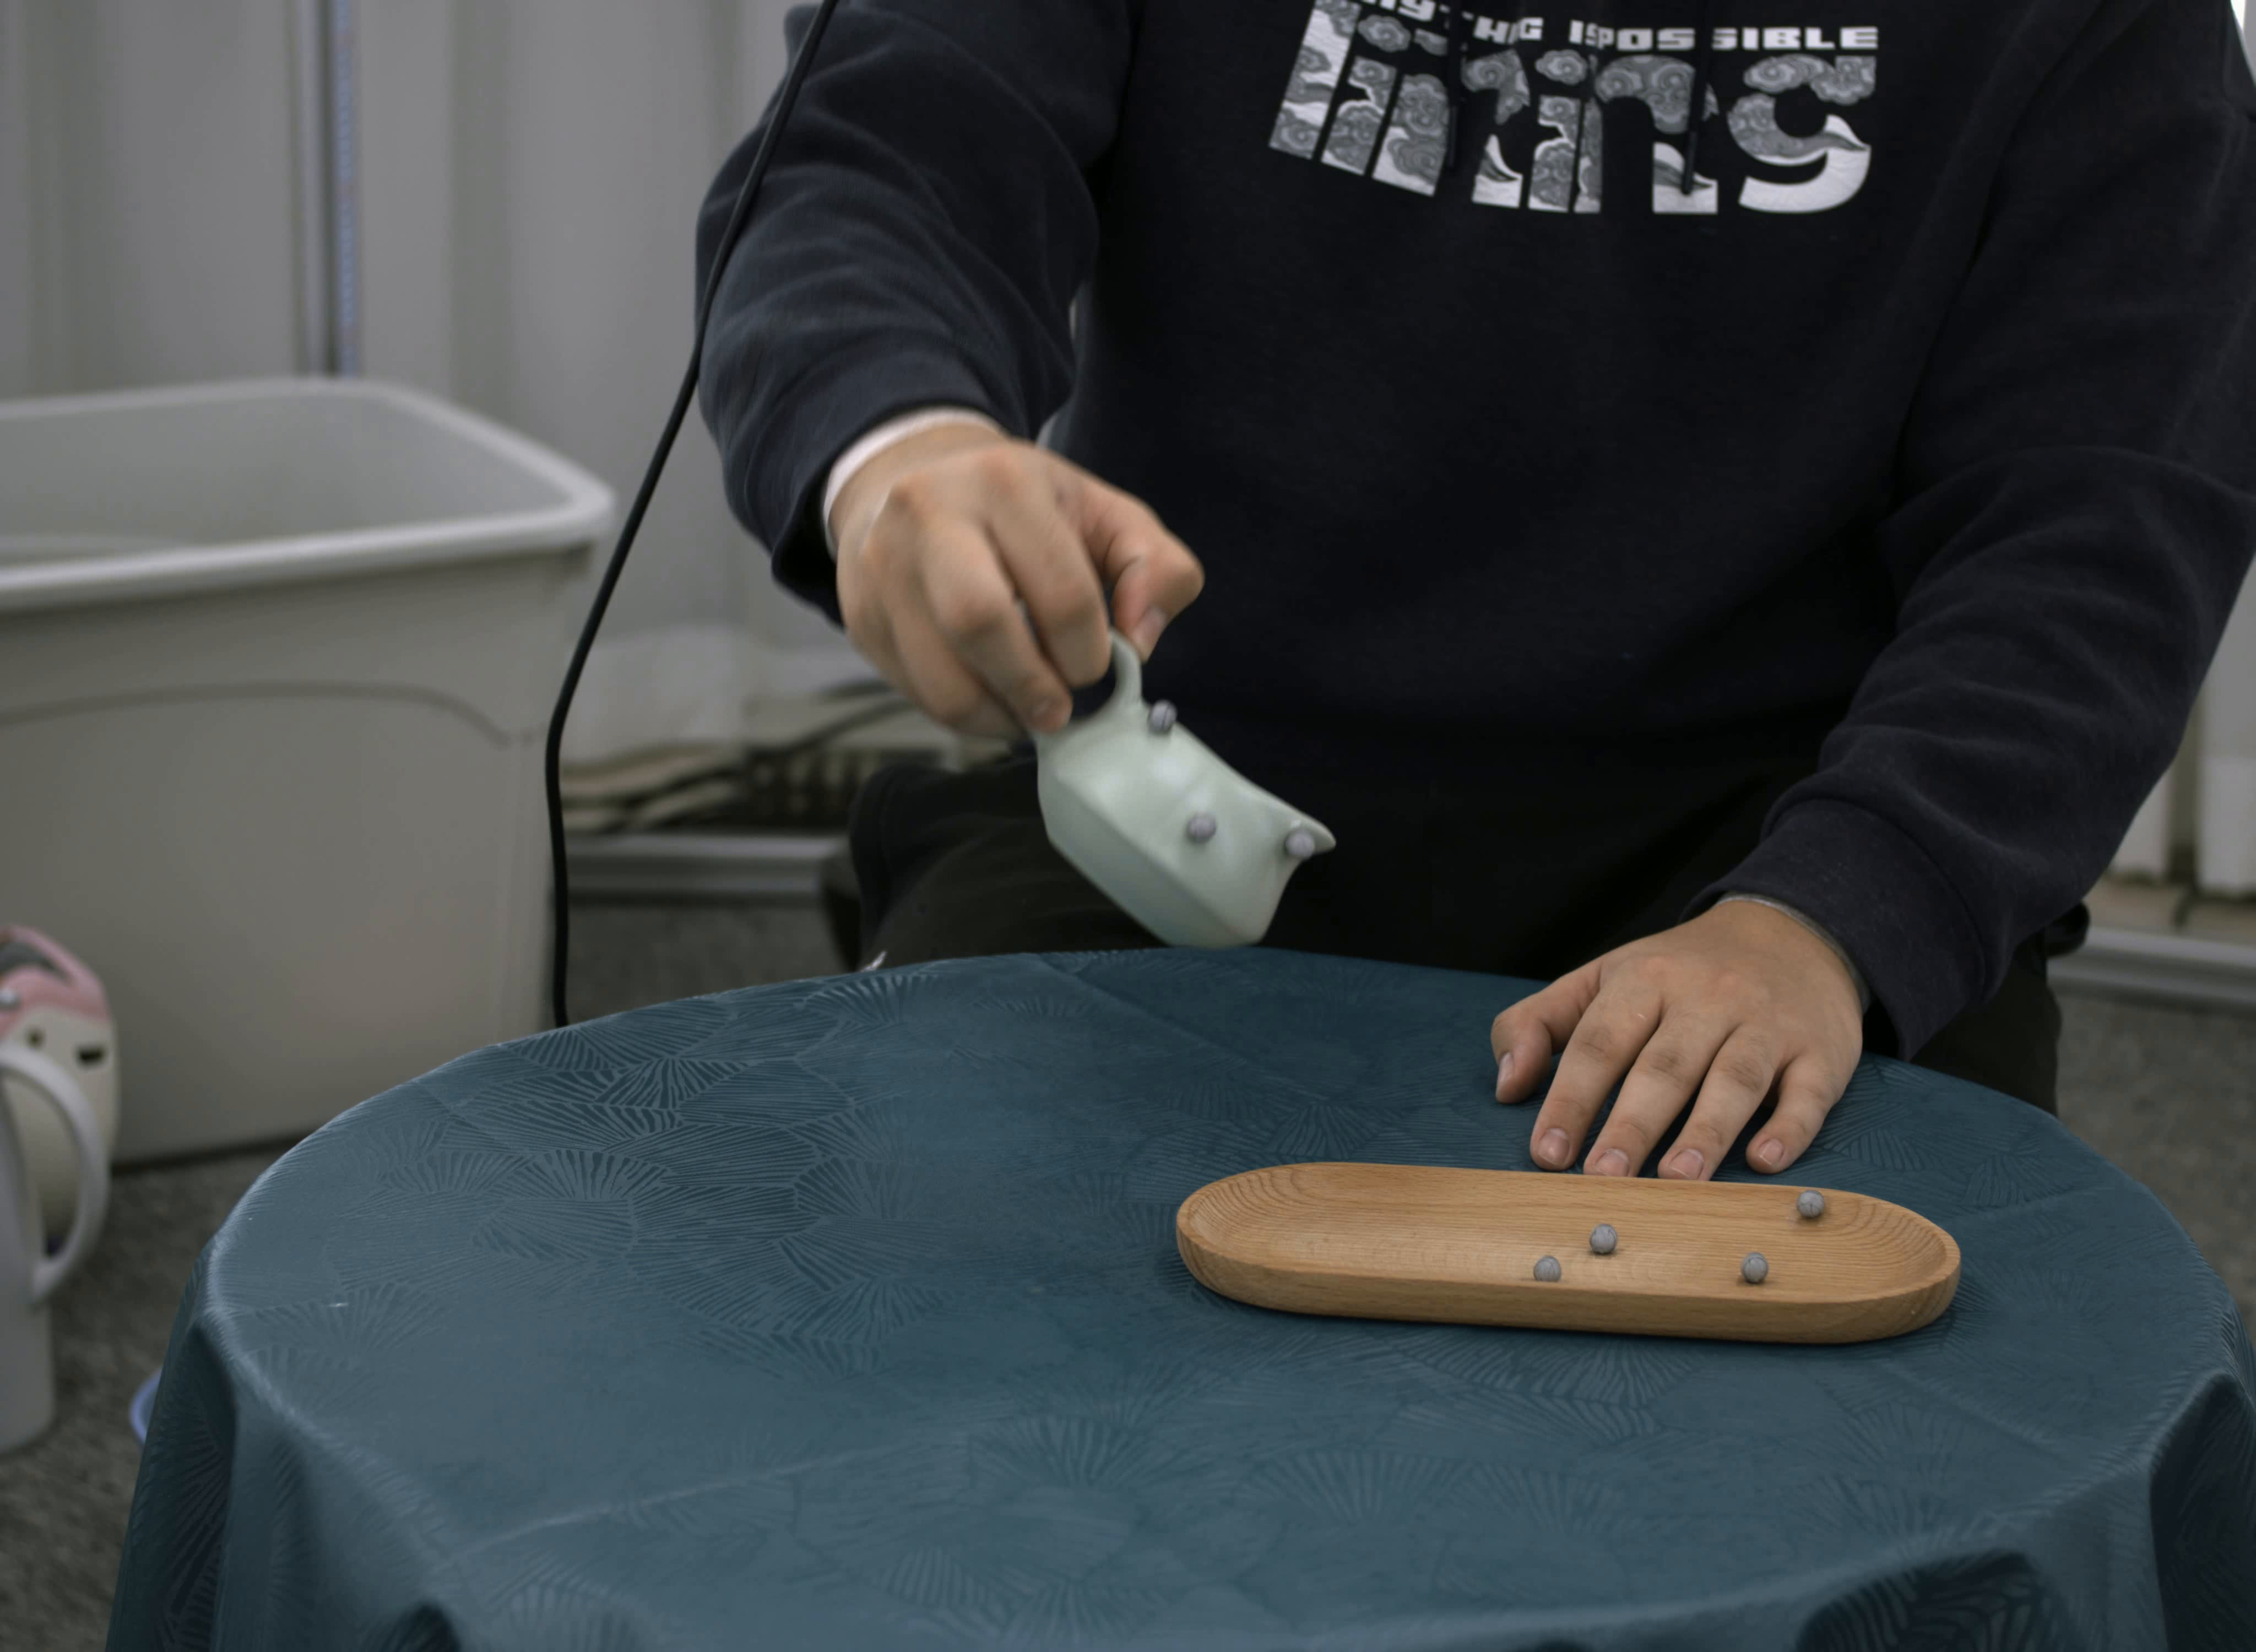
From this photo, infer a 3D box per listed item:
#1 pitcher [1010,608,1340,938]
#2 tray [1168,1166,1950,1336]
[{"bbox_3d":[0.005,-0.013,1.540,0.108,0.060,0.086,41,2,-6],"label":"pitcher"},{"bbox_3d":[0.126,0.125,1.556,0.230,0.020,0.101,1,14,7],"label":"tray"}]
